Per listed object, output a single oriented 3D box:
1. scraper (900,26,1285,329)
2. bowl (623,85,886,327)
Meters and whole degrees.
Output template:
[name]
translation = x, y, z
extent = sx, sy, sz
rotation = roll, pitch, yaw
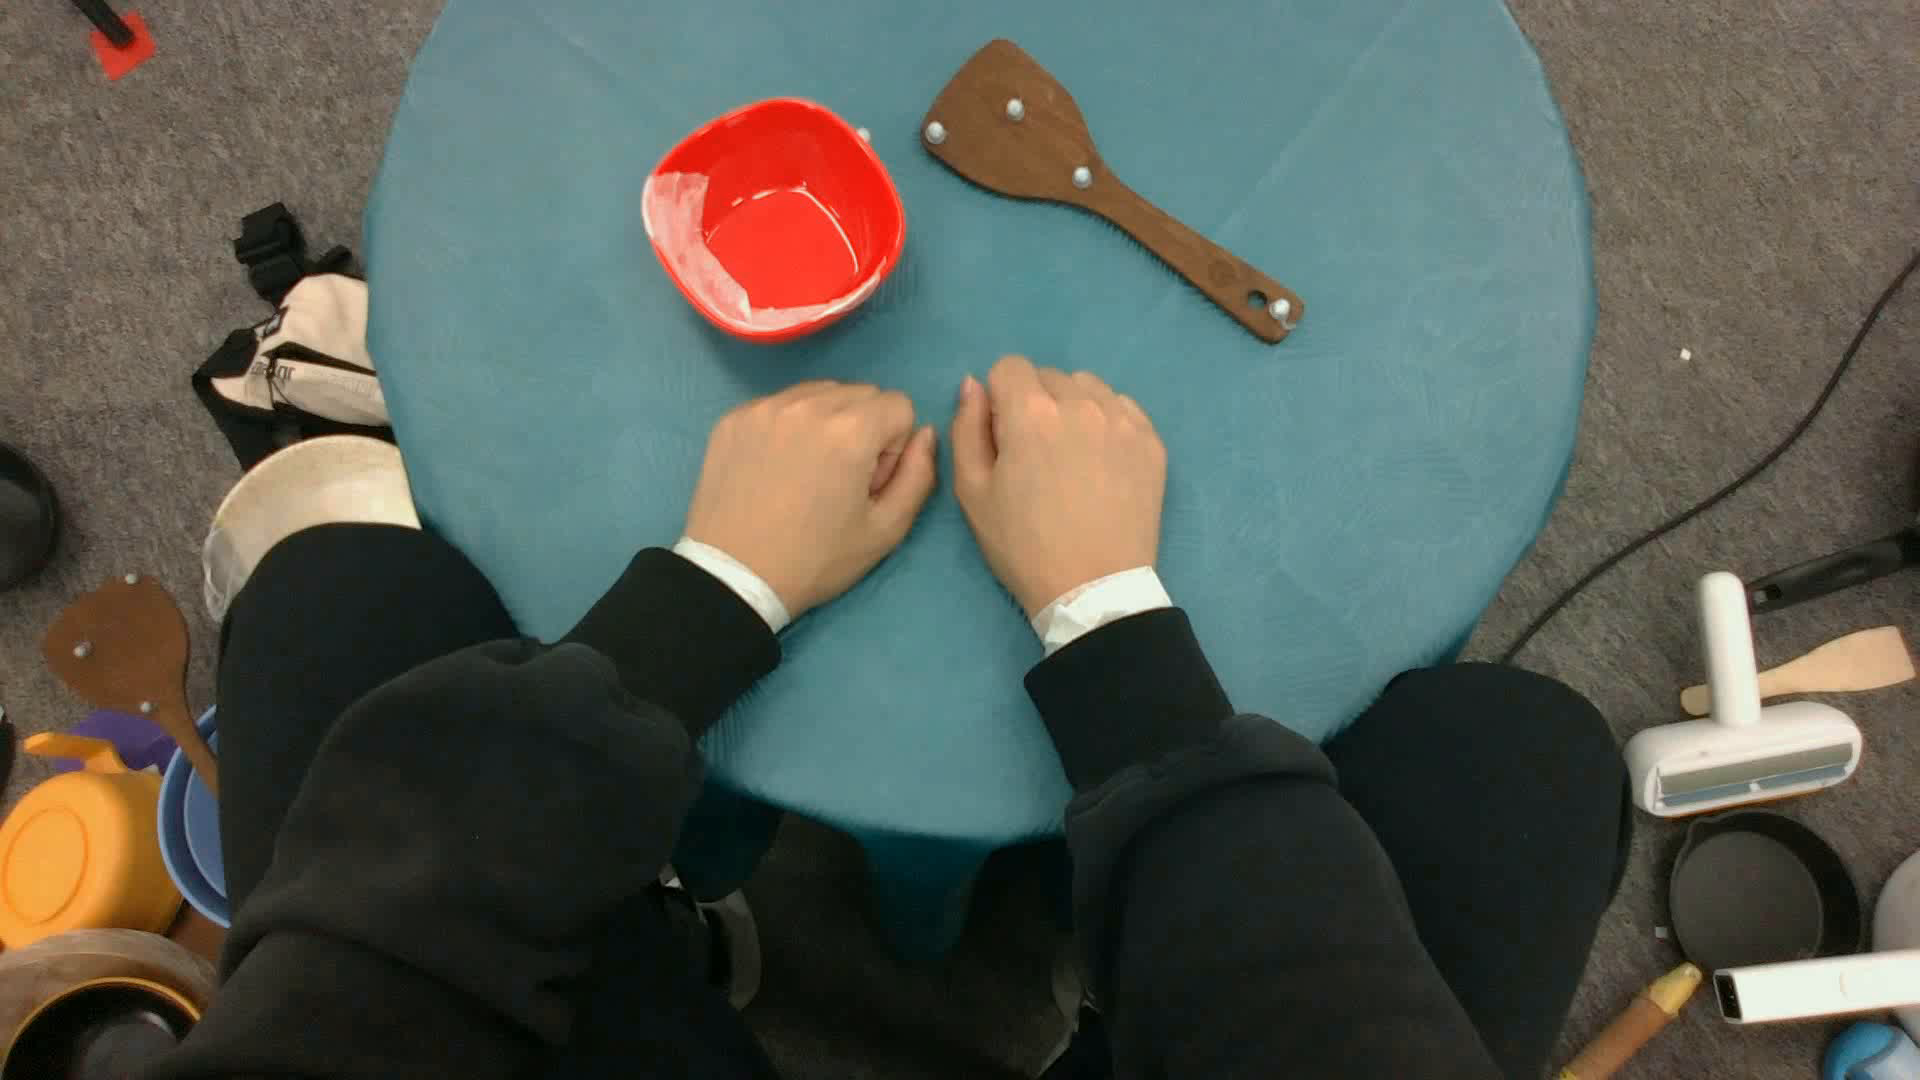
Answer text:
[scraper]
translation = 0.069, -0.173, 0.680
extent = 0.211, 0.011, 0.076
rotation = 37, 78, 6
[bowl]
translation = -0.094, -0.147, 0.644
extent = 0.119, 0.051, 0.119
rotation = 1, 73, -3
